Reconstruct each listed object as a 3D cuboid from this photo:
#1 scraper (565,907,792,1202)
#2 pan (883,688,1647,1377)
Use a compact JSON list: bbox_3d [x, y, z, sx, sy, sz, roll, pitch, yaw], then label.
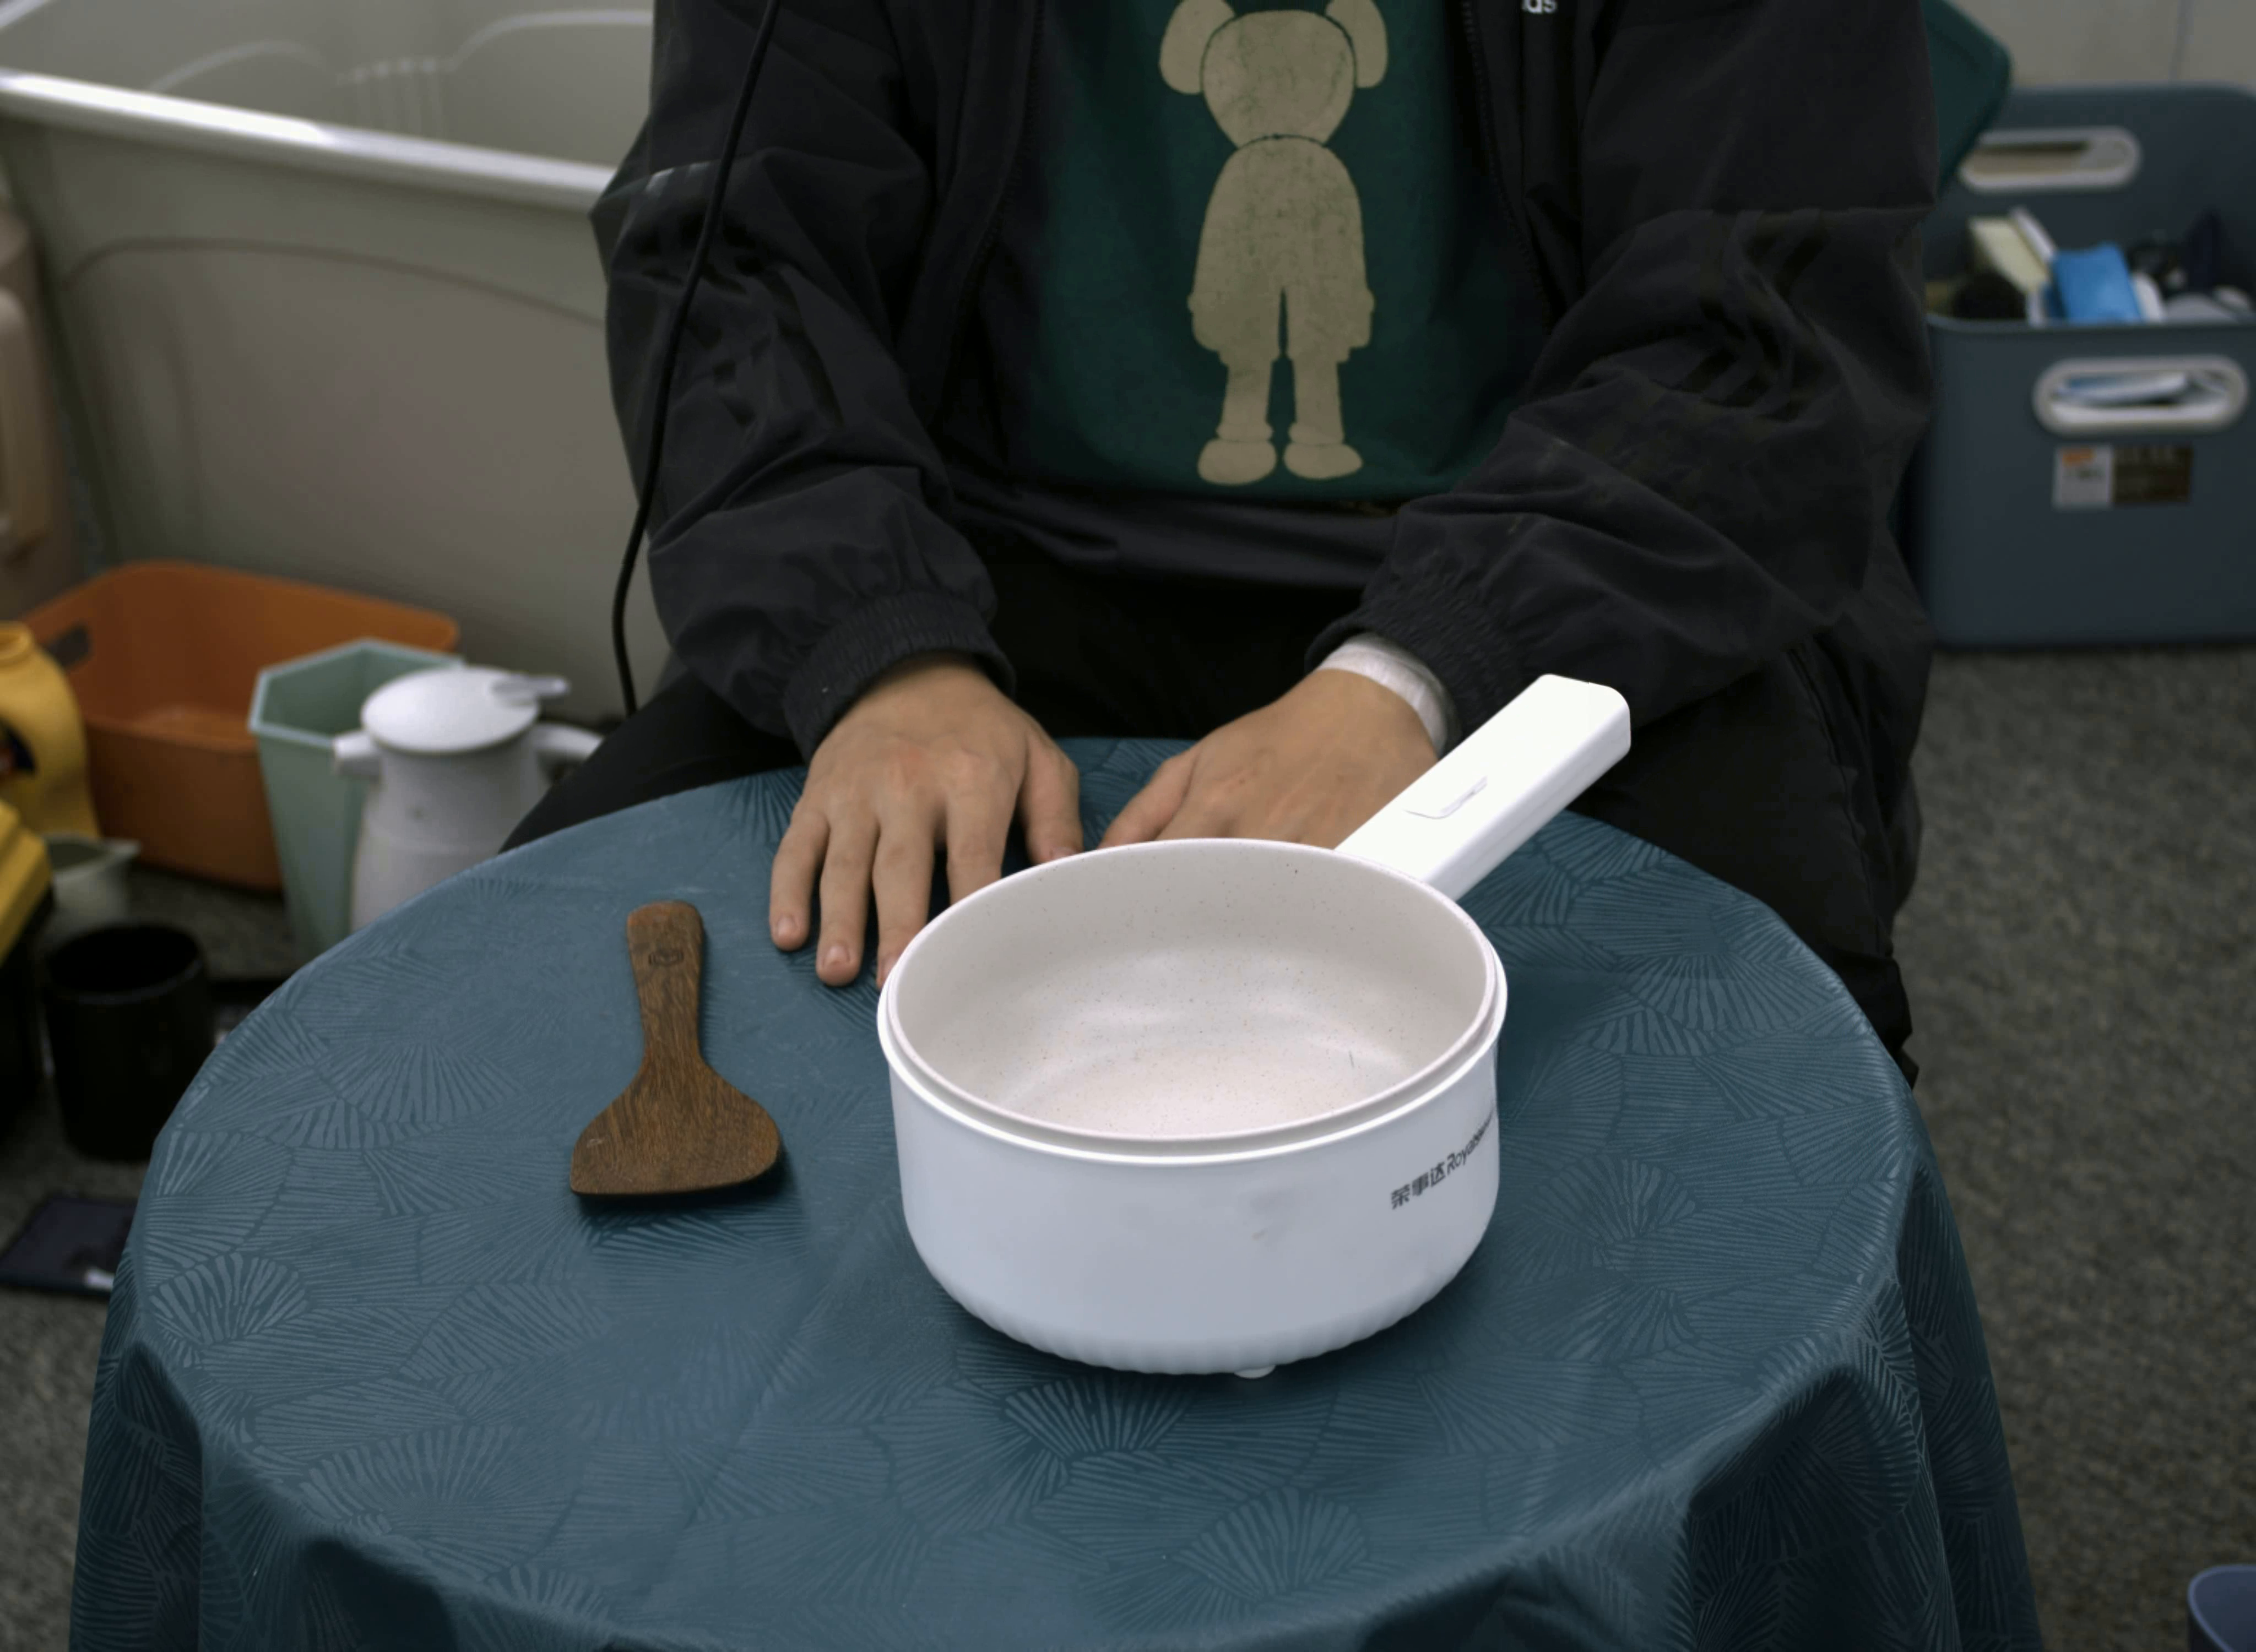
[{"bbox_3d":[-0.158,0.079,1.949,0.075,0.011,0.214,-4,26,-4],"label":"scraper"},{"bbox_3d":[0.066,0.064,1.860,0.200,0.101,0.360,14,30,31],"label":"pan"}]
